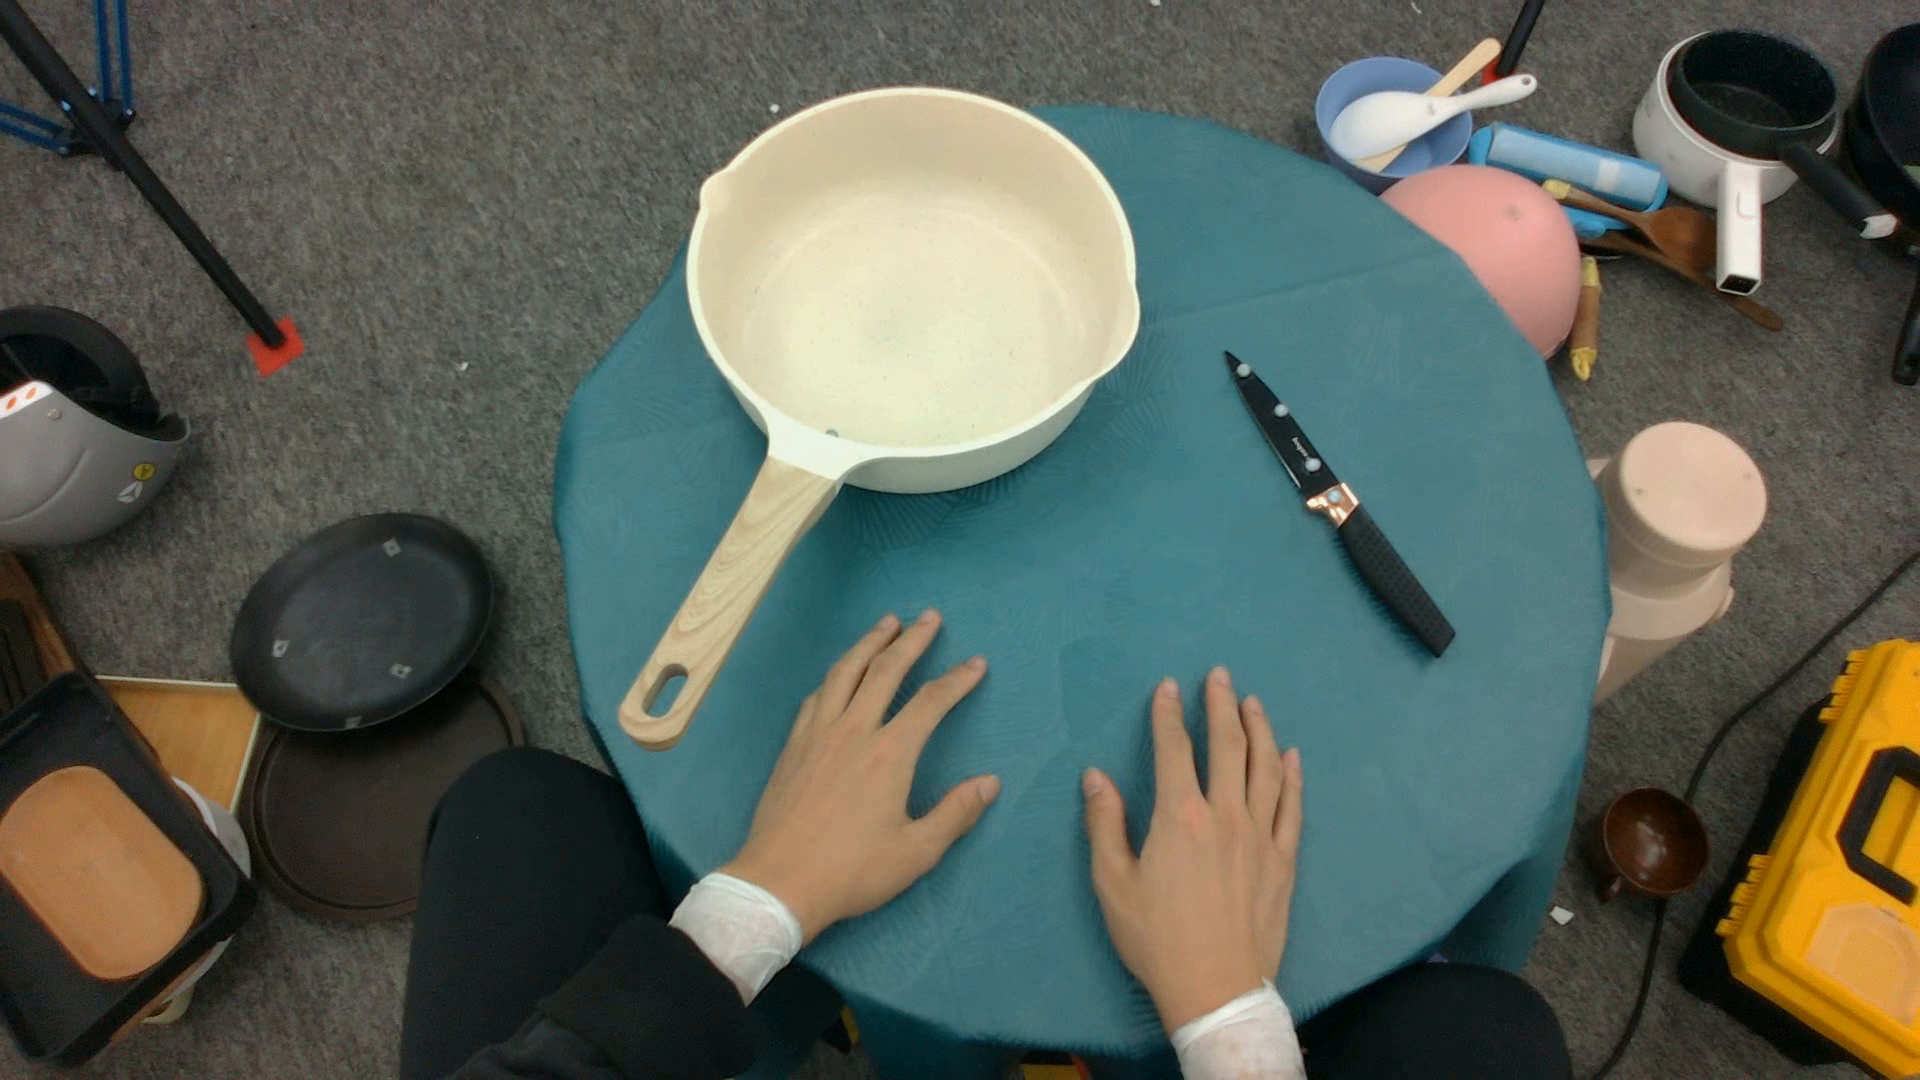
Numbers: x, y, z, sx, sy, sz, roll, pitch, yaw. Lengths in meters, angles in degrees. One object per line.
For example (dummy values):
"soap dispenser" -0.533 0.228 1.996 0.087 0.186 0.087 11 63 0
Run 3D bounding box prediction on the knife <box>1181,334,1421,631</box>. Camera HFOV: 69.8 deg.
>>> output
"knife" 0.196 -0.040 0.805 0.026 0.017 0.226 -31 68 0

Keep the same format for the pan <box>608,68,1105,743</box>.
"pan" -0.080 -0.076 0.761 0.263 0.101 0.436 21 66 6
